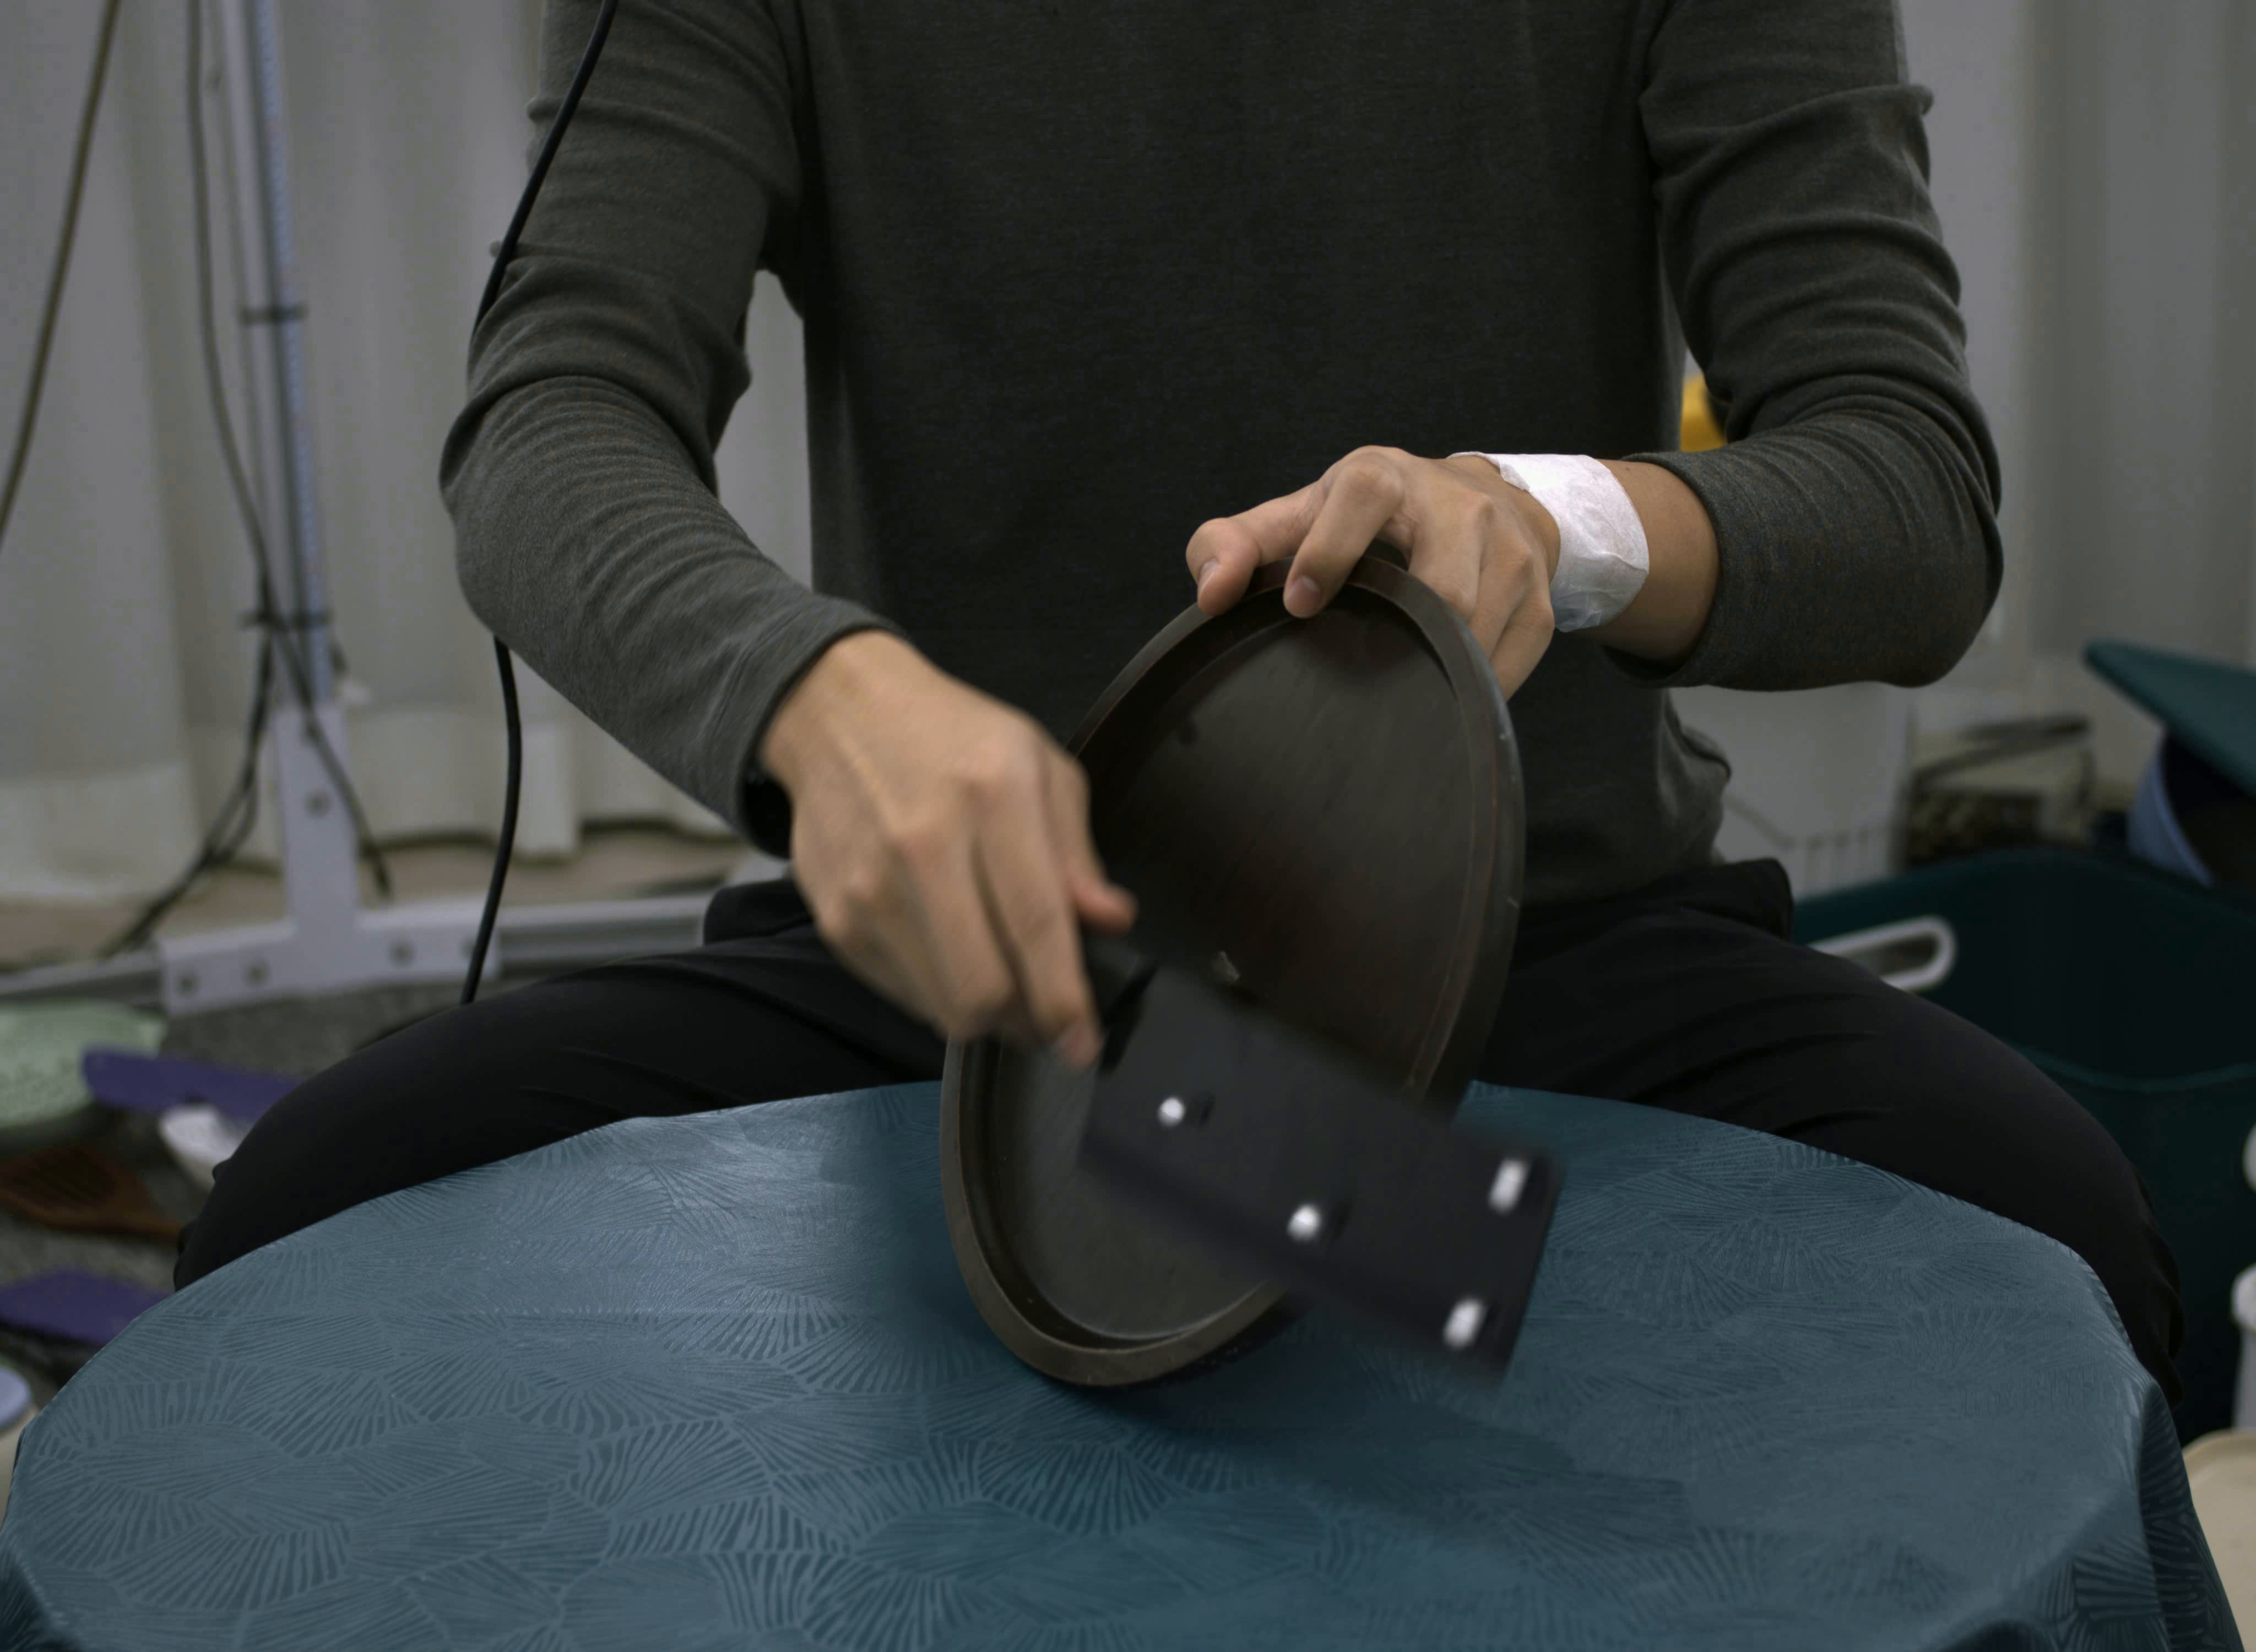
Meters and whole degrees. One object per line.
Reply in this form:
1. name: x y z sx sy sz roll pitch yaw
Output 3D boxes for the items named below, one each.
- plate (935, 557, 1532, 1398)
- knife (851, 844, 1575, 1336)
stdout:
1. plate: 0.028 0.043 1.568 0.029 0.255 0.257 23 -1 -32
2. knife: 0.016 0.066 1.514 0.020 0.081 0.305 12 11 -41
